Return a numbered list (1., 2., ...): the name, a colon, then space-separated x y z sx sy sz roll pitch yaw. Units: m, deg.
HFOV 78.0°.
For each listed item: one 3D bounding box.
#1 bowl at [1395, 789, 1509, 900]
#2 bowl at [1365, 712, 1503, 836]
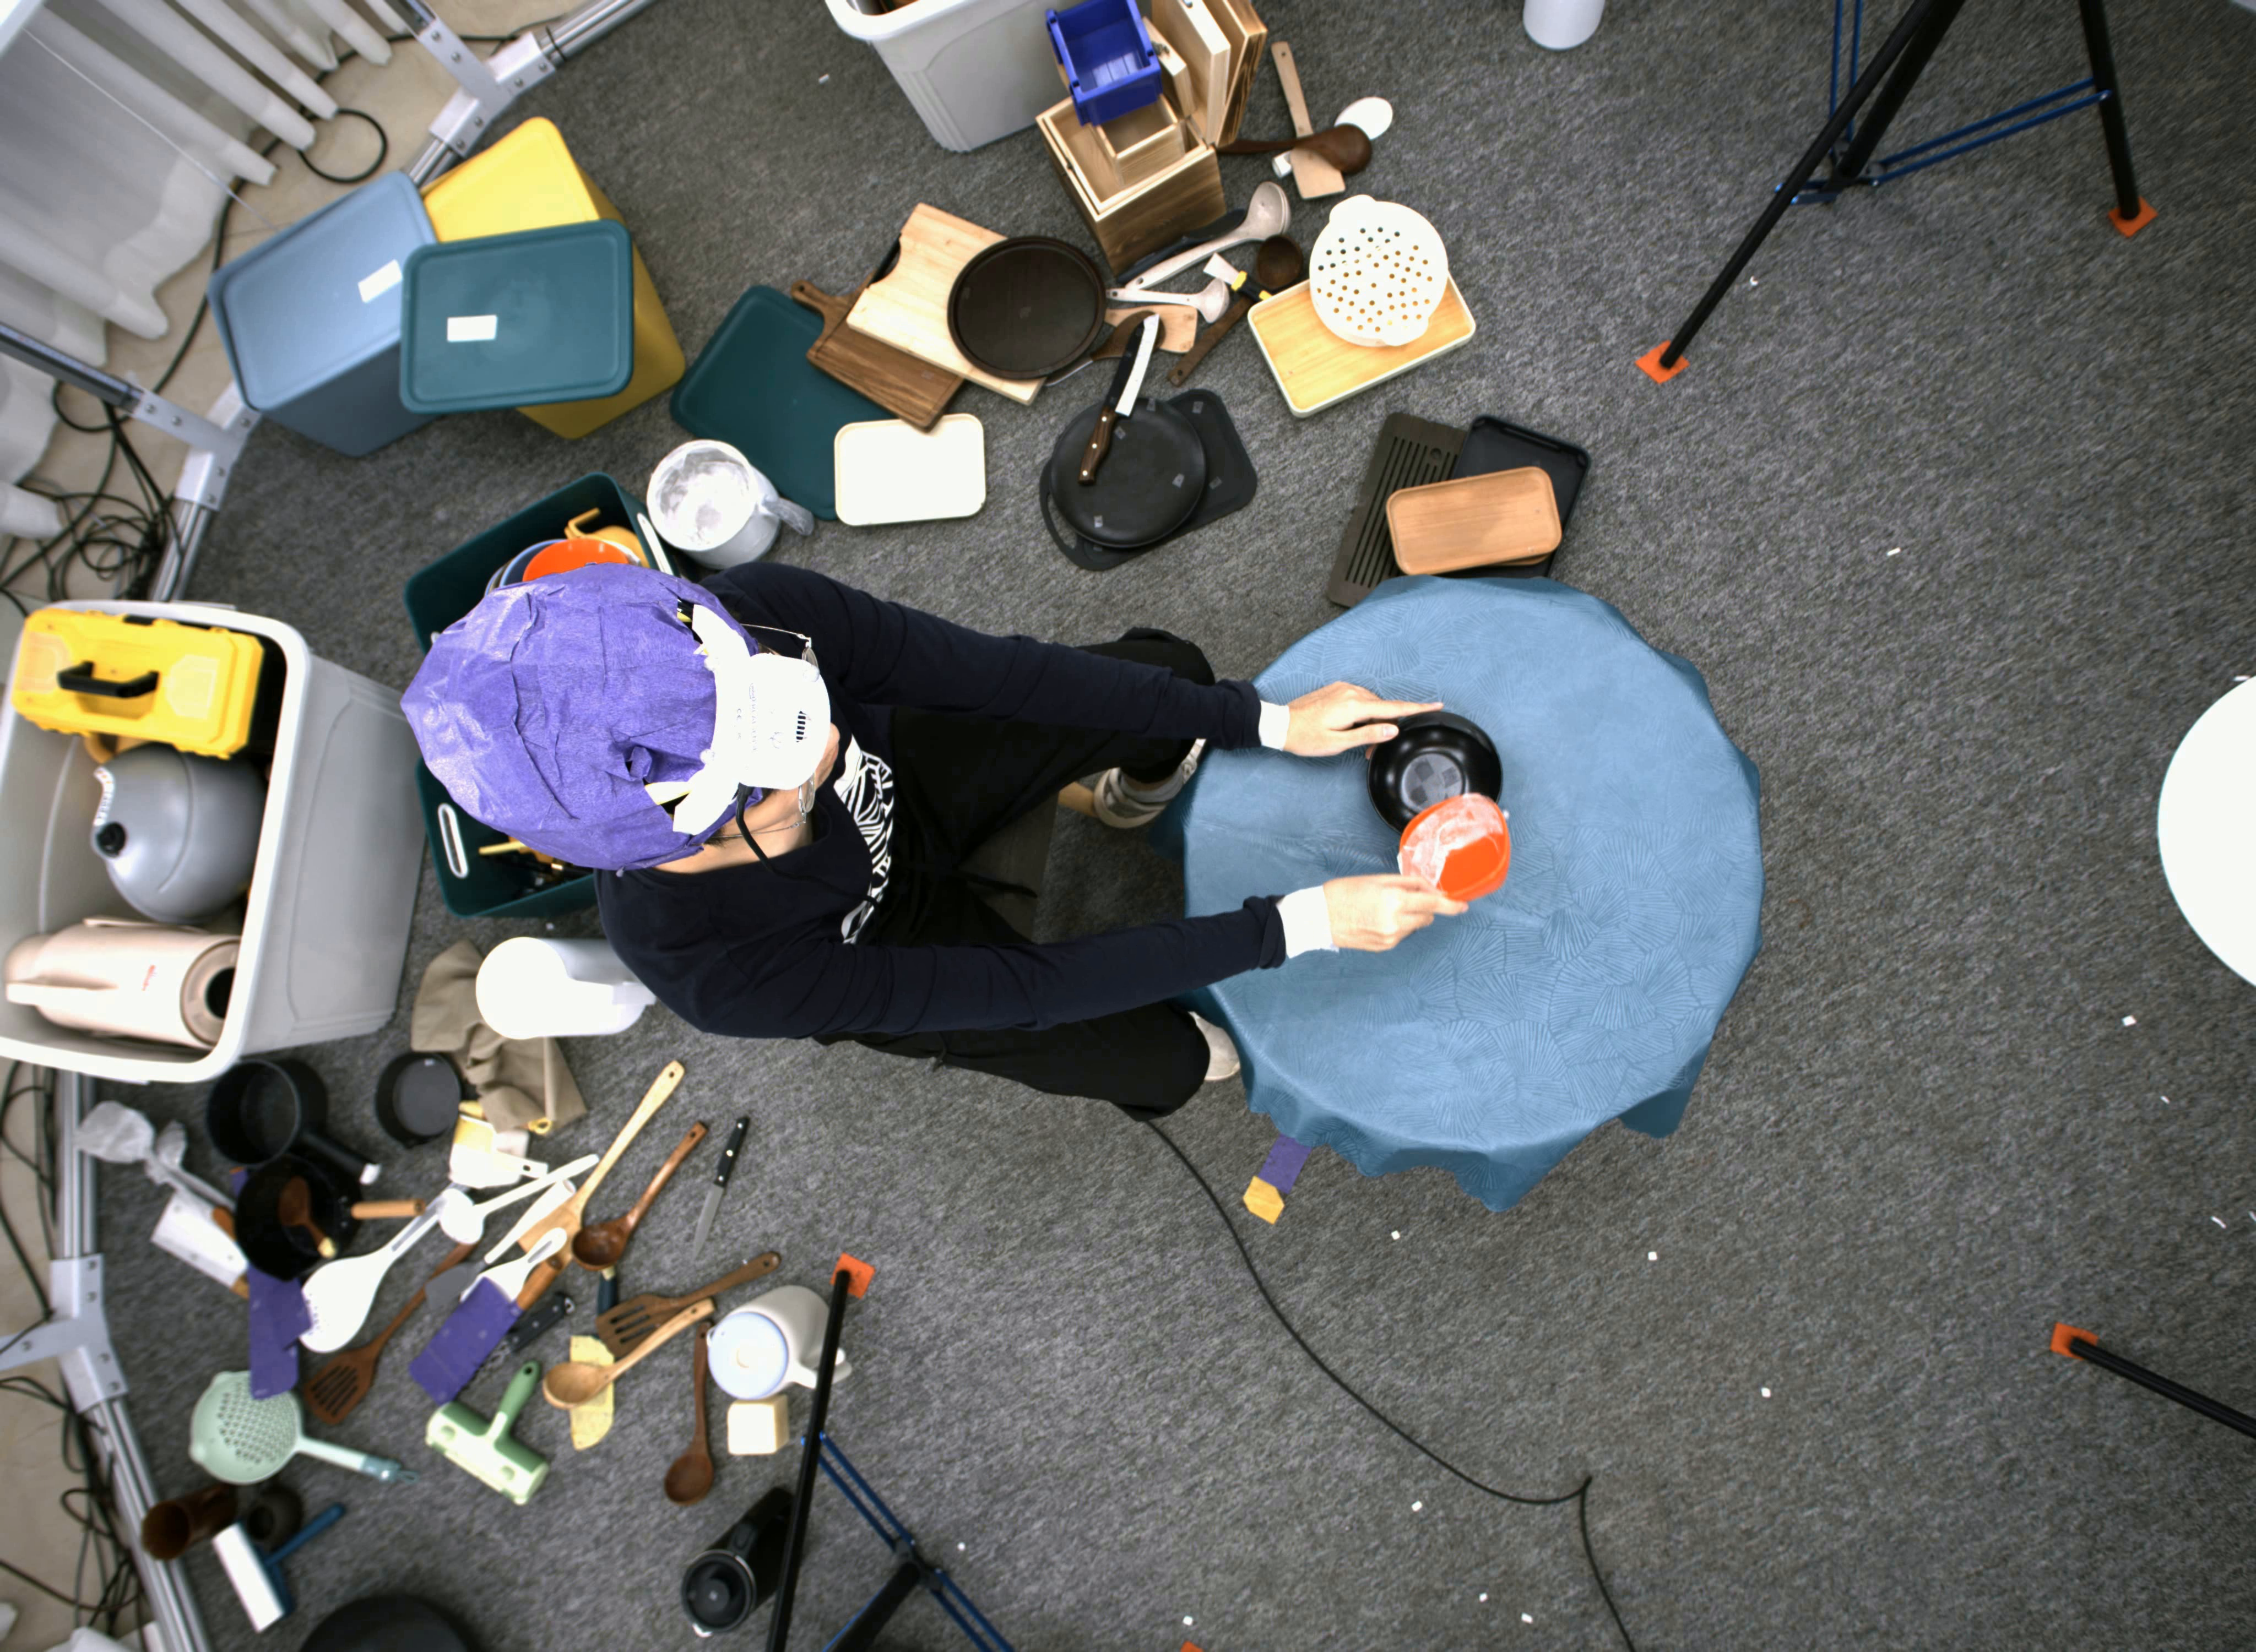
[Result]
1. bowl: 0.318 0.024 1.323 0.120 0.052 0.116 -18 56 28
2. bowl: 0.319 -0.049 1.436 0.141 0.050 0.139 -1 87 15
